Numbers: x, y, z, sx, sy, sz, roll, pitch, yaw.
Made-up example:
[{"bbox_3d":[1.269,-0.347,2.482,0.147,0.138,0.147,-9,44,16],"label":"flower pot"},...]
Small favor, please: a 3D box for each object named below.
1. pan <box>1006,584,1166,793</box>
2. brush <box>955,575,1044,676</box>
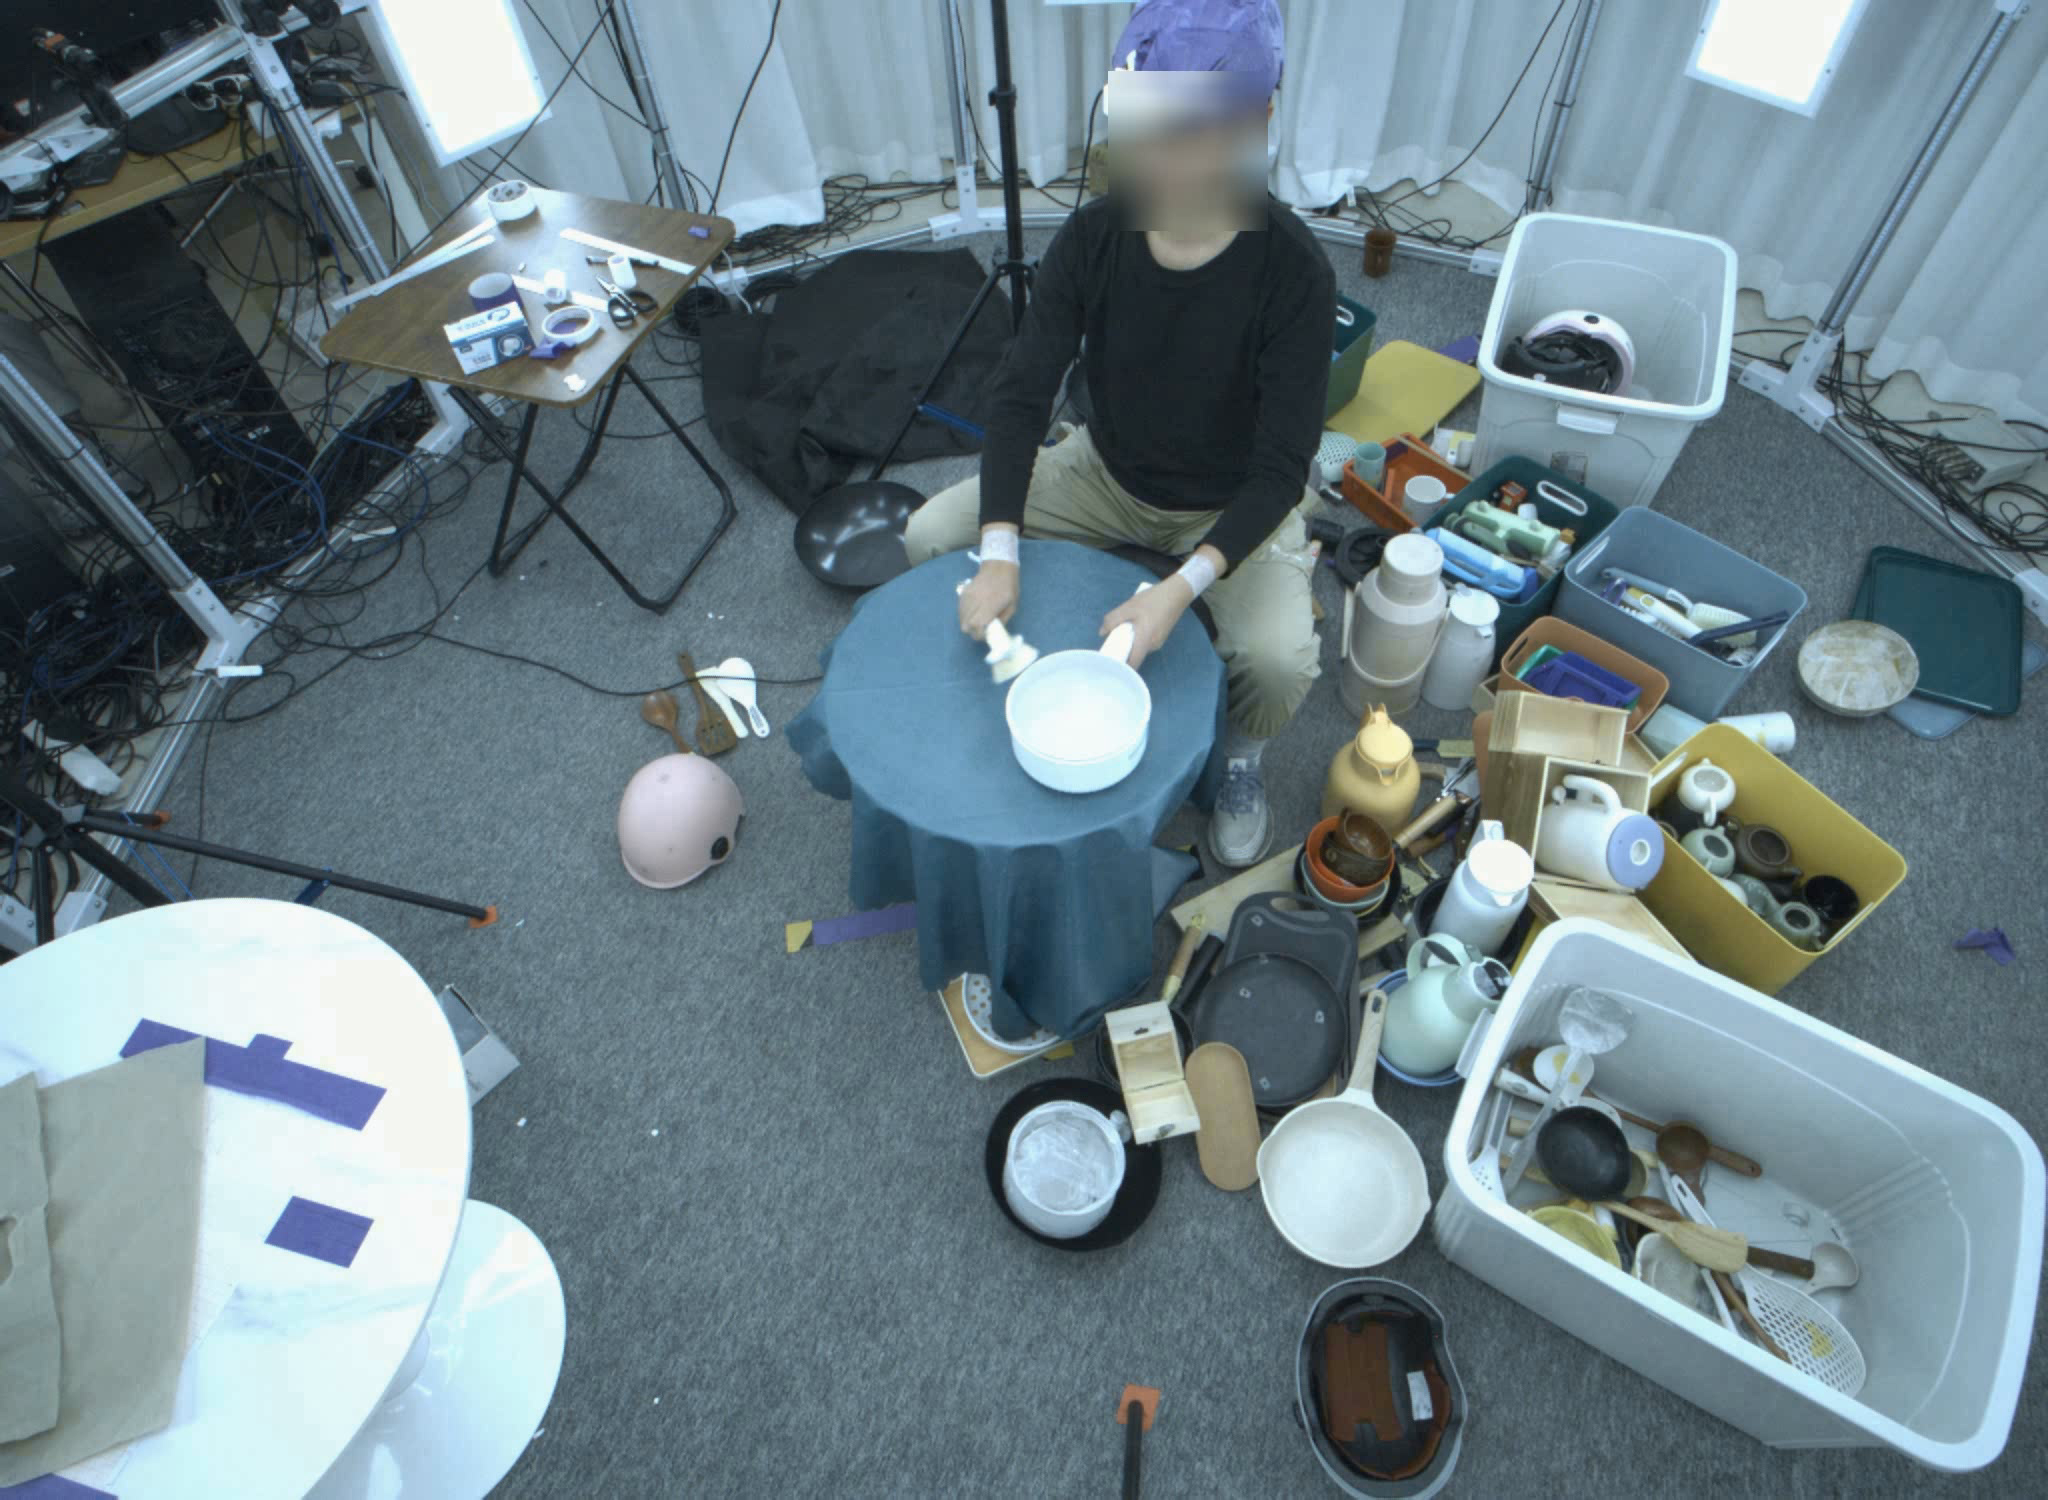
[{"bbox_3d":[0.114,-0.091,1.789,0.198,0.103,0.355,21,58,18],"label":"pan"},{"bbox_3d":[-0.043,-0.189,1.834,0.069,0.057,0.261,-29,38,-5],"label":"brush"}]
